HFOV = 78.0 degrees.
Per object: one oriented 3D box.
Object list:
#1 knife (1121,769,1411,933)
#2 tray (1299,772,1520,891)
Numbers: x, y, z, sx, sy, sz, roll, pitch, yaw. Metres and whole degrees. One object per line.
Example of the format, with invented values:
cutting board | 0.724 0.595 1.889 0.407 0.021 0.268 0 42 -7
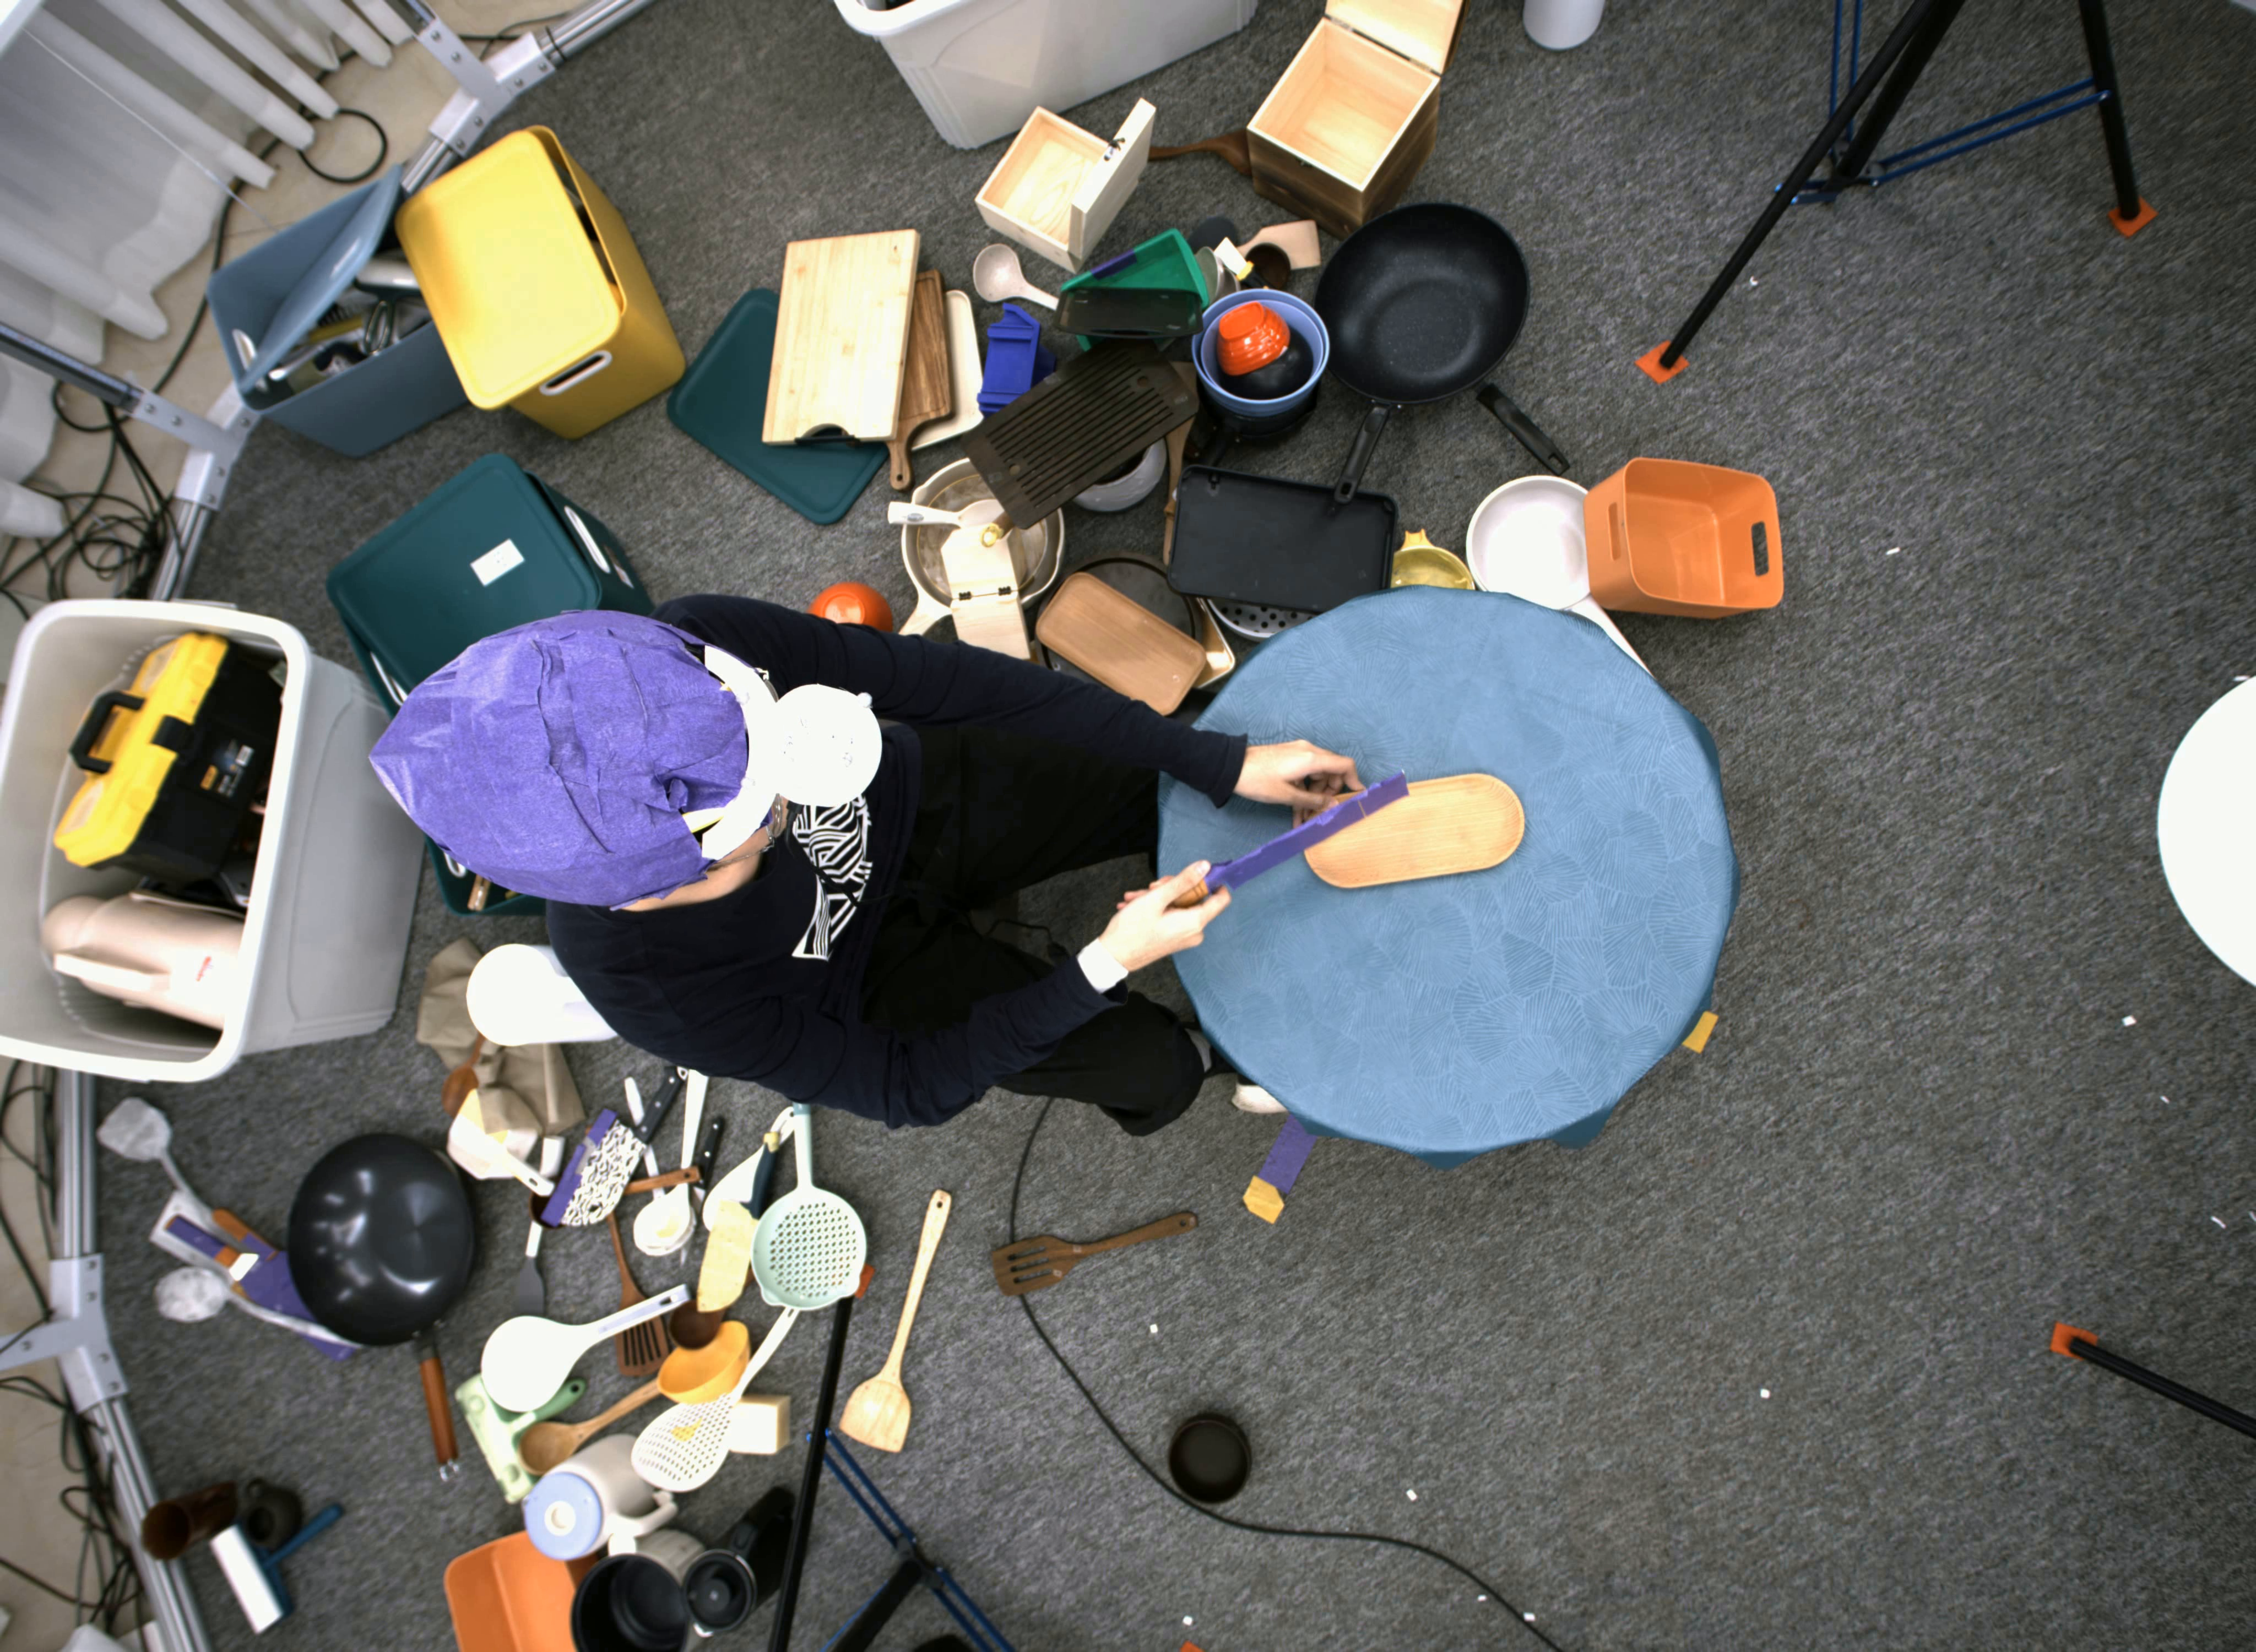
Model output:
knife | 0.145 0.030 1.394 0.317 0.104 0.032 -27 71 8
tray | 0.295 0.005 1.449 0.232 0.020 0.101 -11 86 11
